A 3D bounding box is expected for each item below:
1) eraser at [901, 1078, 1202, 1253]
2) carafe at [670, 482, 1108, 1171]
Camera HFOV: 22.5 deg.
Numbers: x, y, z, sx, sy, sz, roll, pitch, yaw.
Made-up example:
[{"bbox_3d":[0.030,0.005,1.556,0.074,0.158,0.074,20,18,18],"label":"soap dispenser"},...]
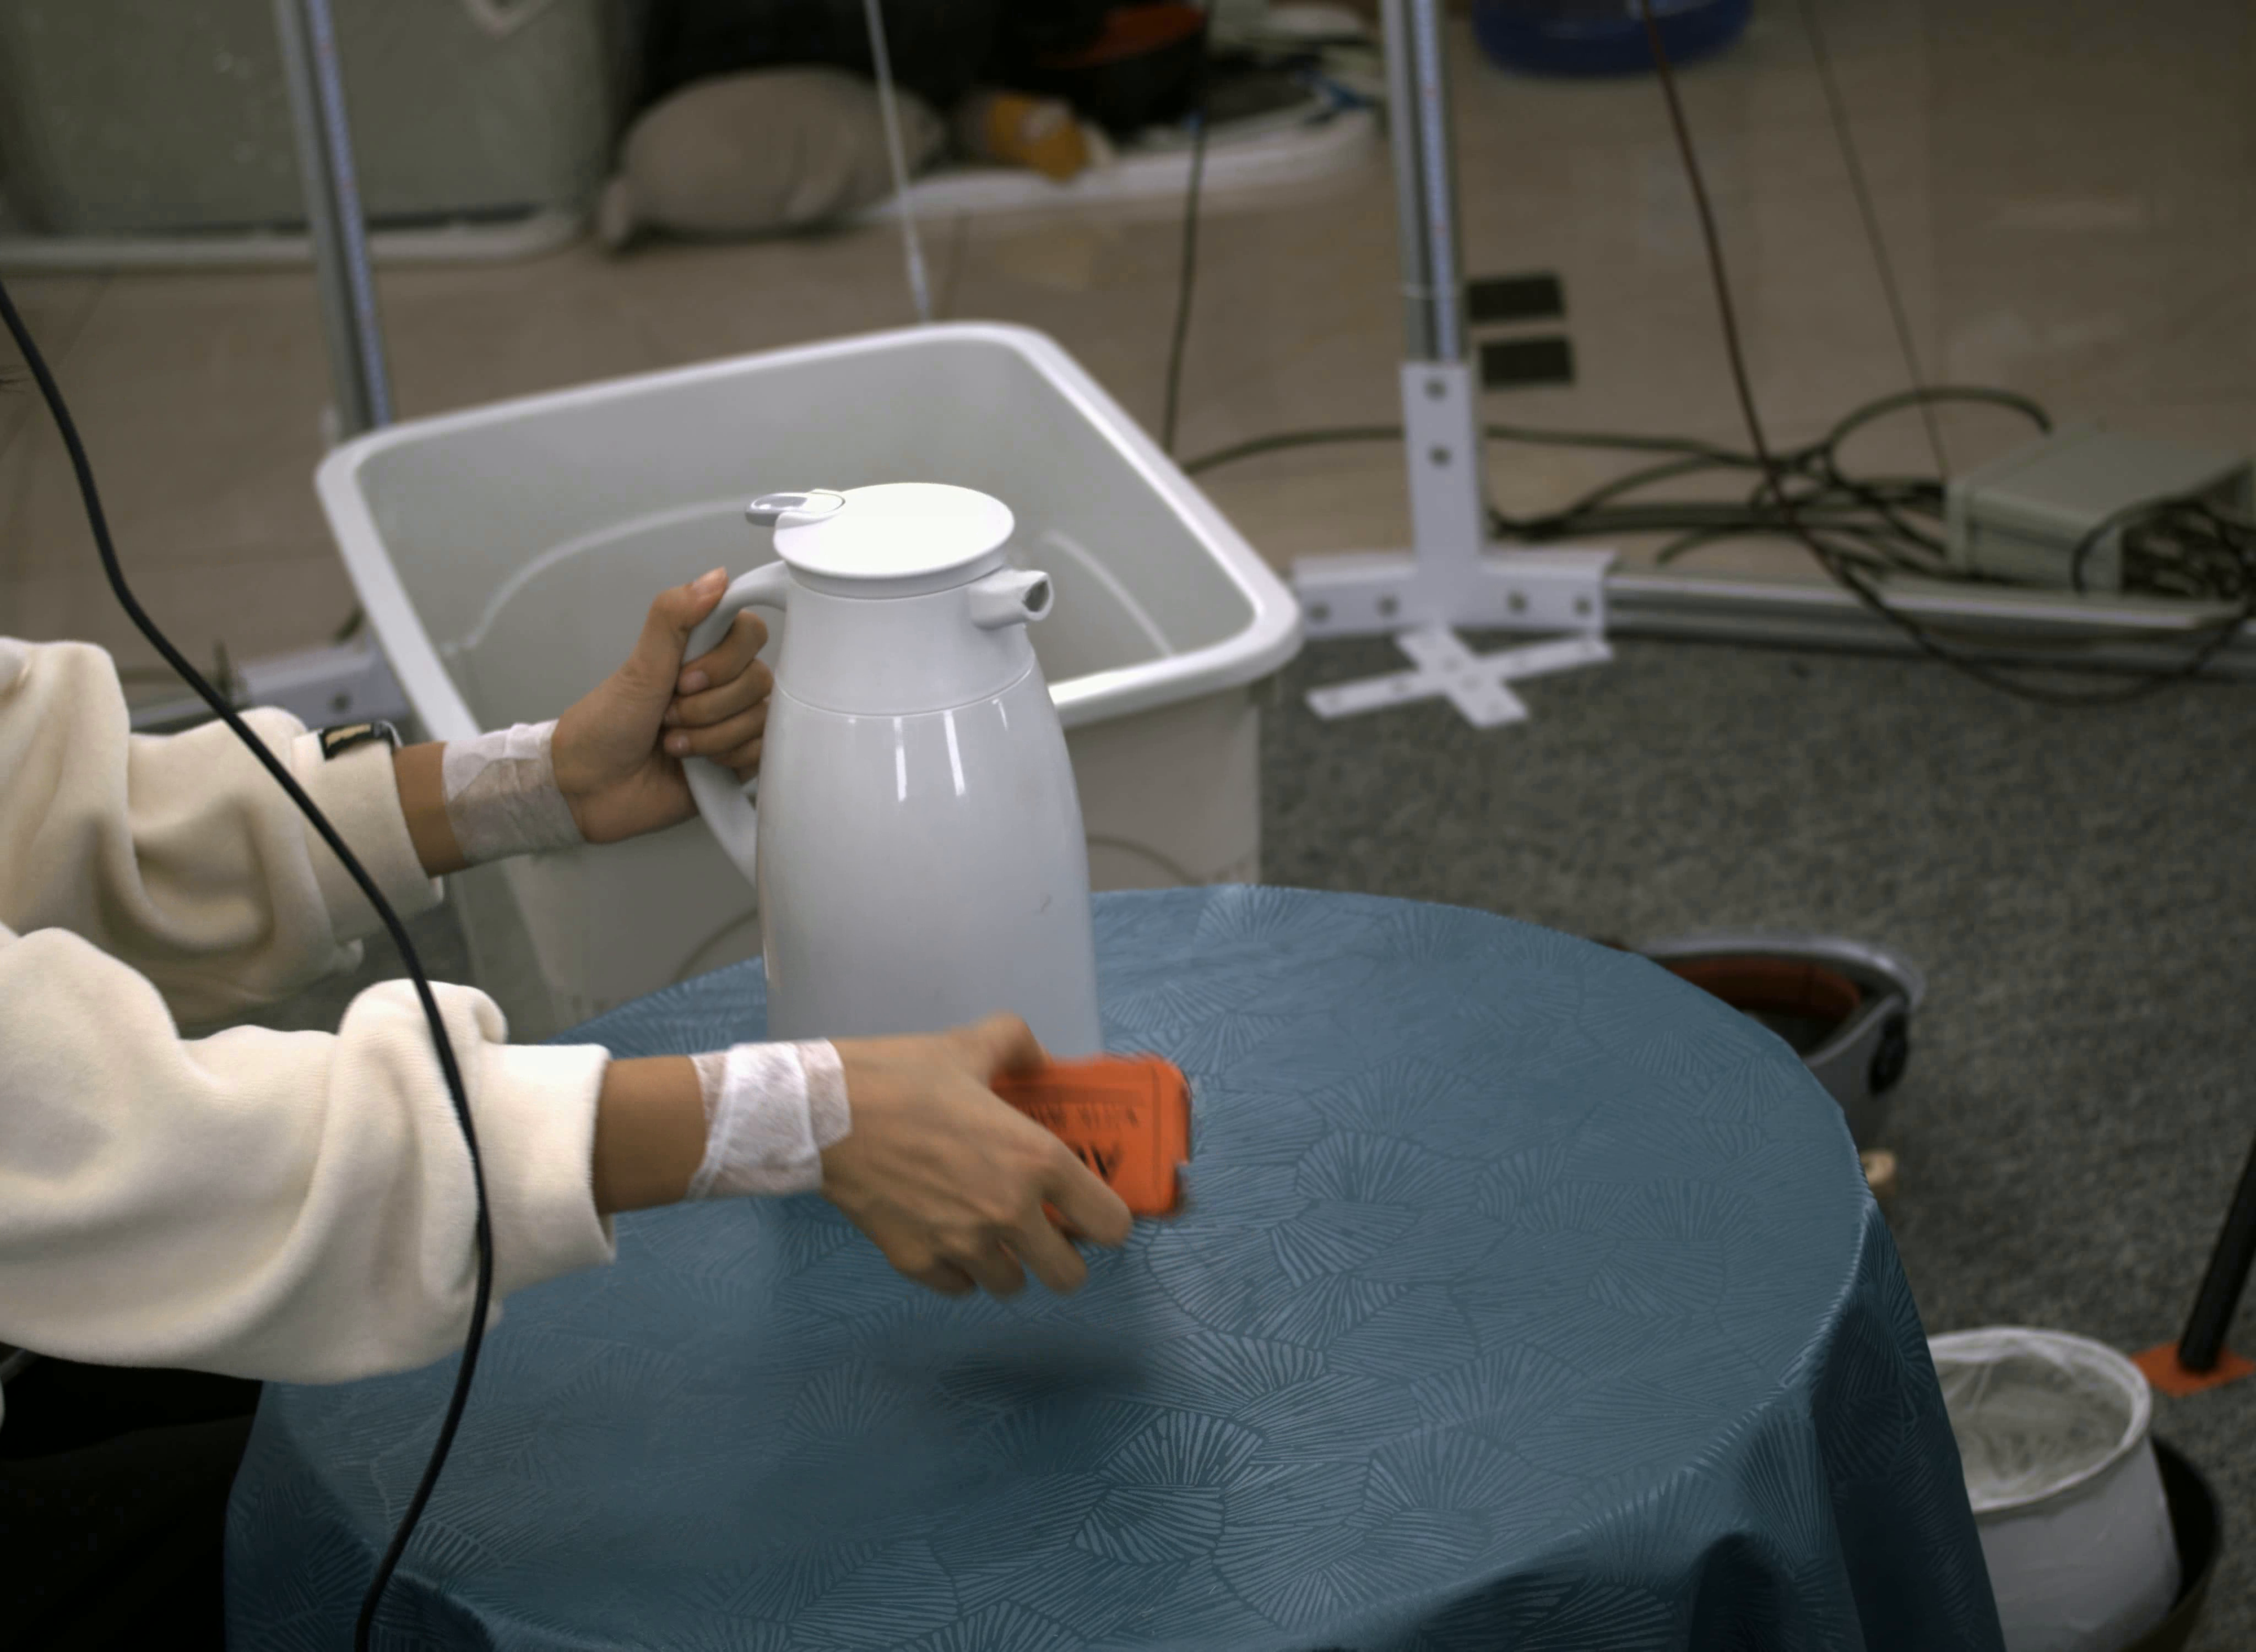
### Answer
[{"bbox_3d":[-0.027,0.121,2.028,0.108,0.058,0.023,-4,-15,19],"label":"eraser"},{"bbox_3d":[-0.099,-0.009,2.184,0.167,0.252,0.131,9,29,26],"label":"carafe"}]
